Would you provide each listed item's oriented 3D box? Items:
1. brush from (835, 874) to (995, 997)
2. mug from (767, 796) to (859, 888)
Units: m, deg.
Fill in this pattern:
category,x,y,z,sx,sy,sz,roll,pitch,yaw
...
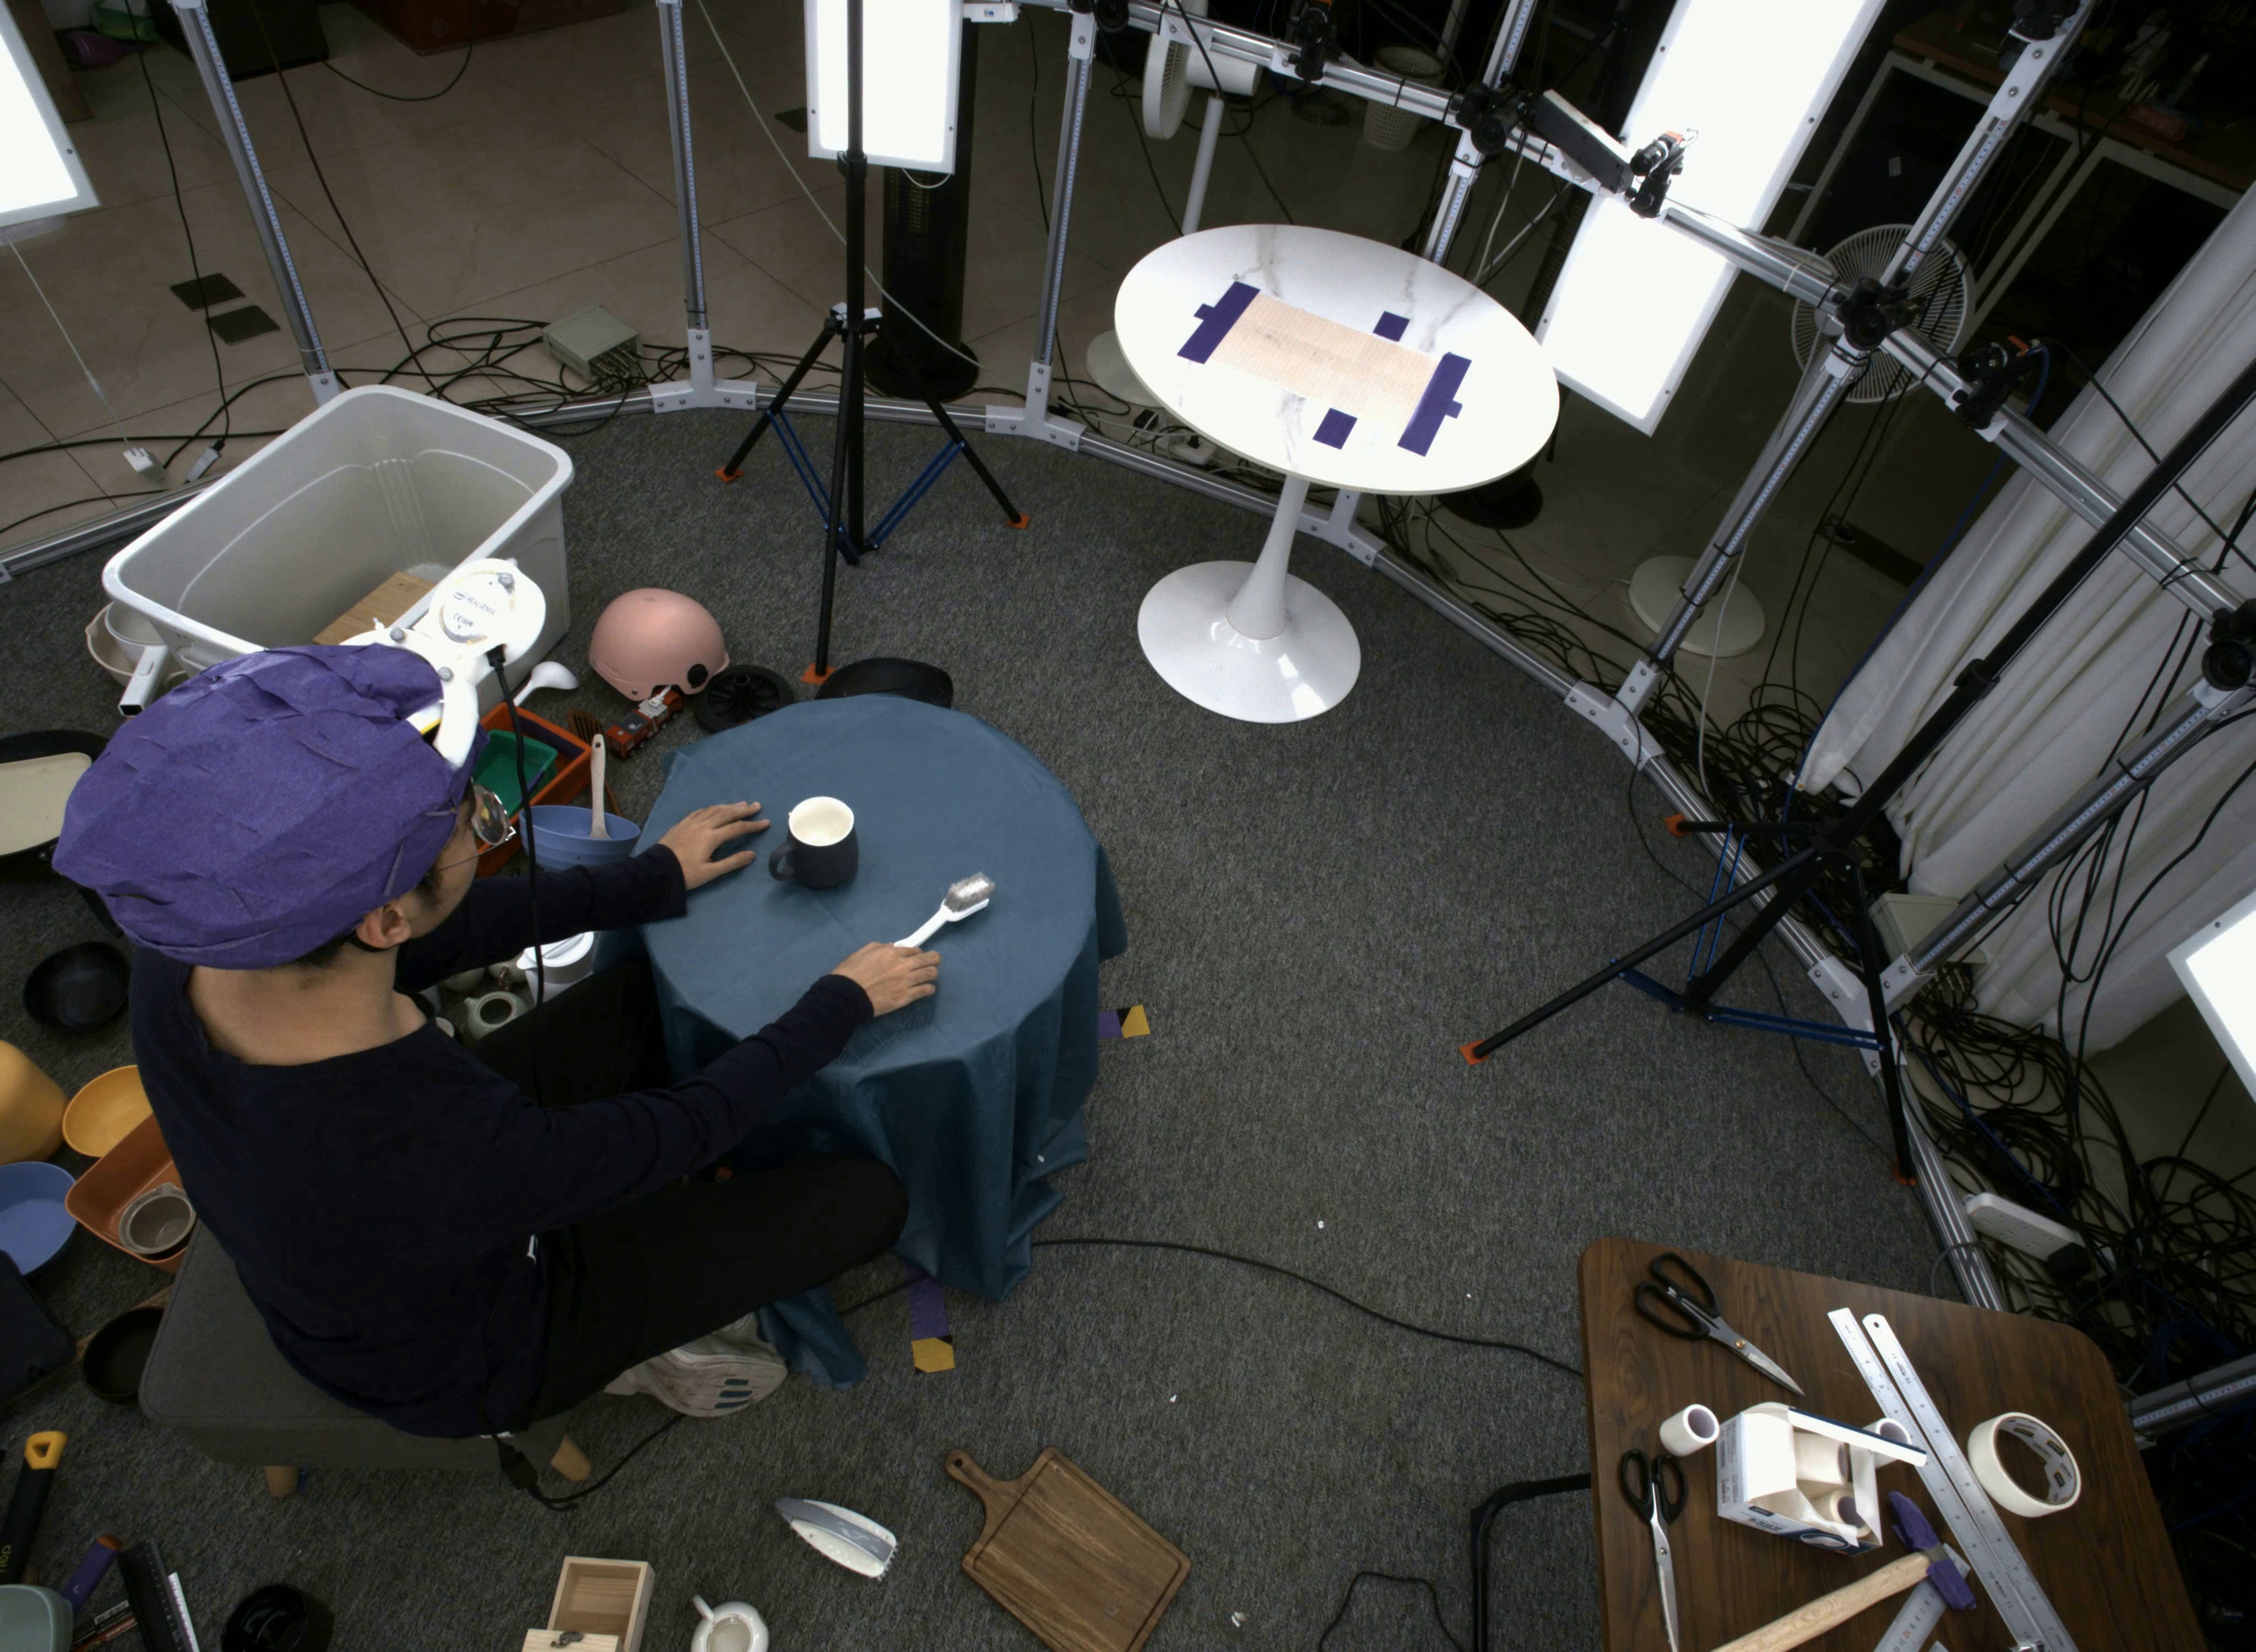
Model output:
category,x,y,z,sx,sy,sz,roll,pitch,yaw
brush,-0.266,0.133,1.635,0.244,0.051,0.034,-34,69,-32
mug,-0.404,0.025,1.651,0.124,0.092,0.091,-29,62,-31
